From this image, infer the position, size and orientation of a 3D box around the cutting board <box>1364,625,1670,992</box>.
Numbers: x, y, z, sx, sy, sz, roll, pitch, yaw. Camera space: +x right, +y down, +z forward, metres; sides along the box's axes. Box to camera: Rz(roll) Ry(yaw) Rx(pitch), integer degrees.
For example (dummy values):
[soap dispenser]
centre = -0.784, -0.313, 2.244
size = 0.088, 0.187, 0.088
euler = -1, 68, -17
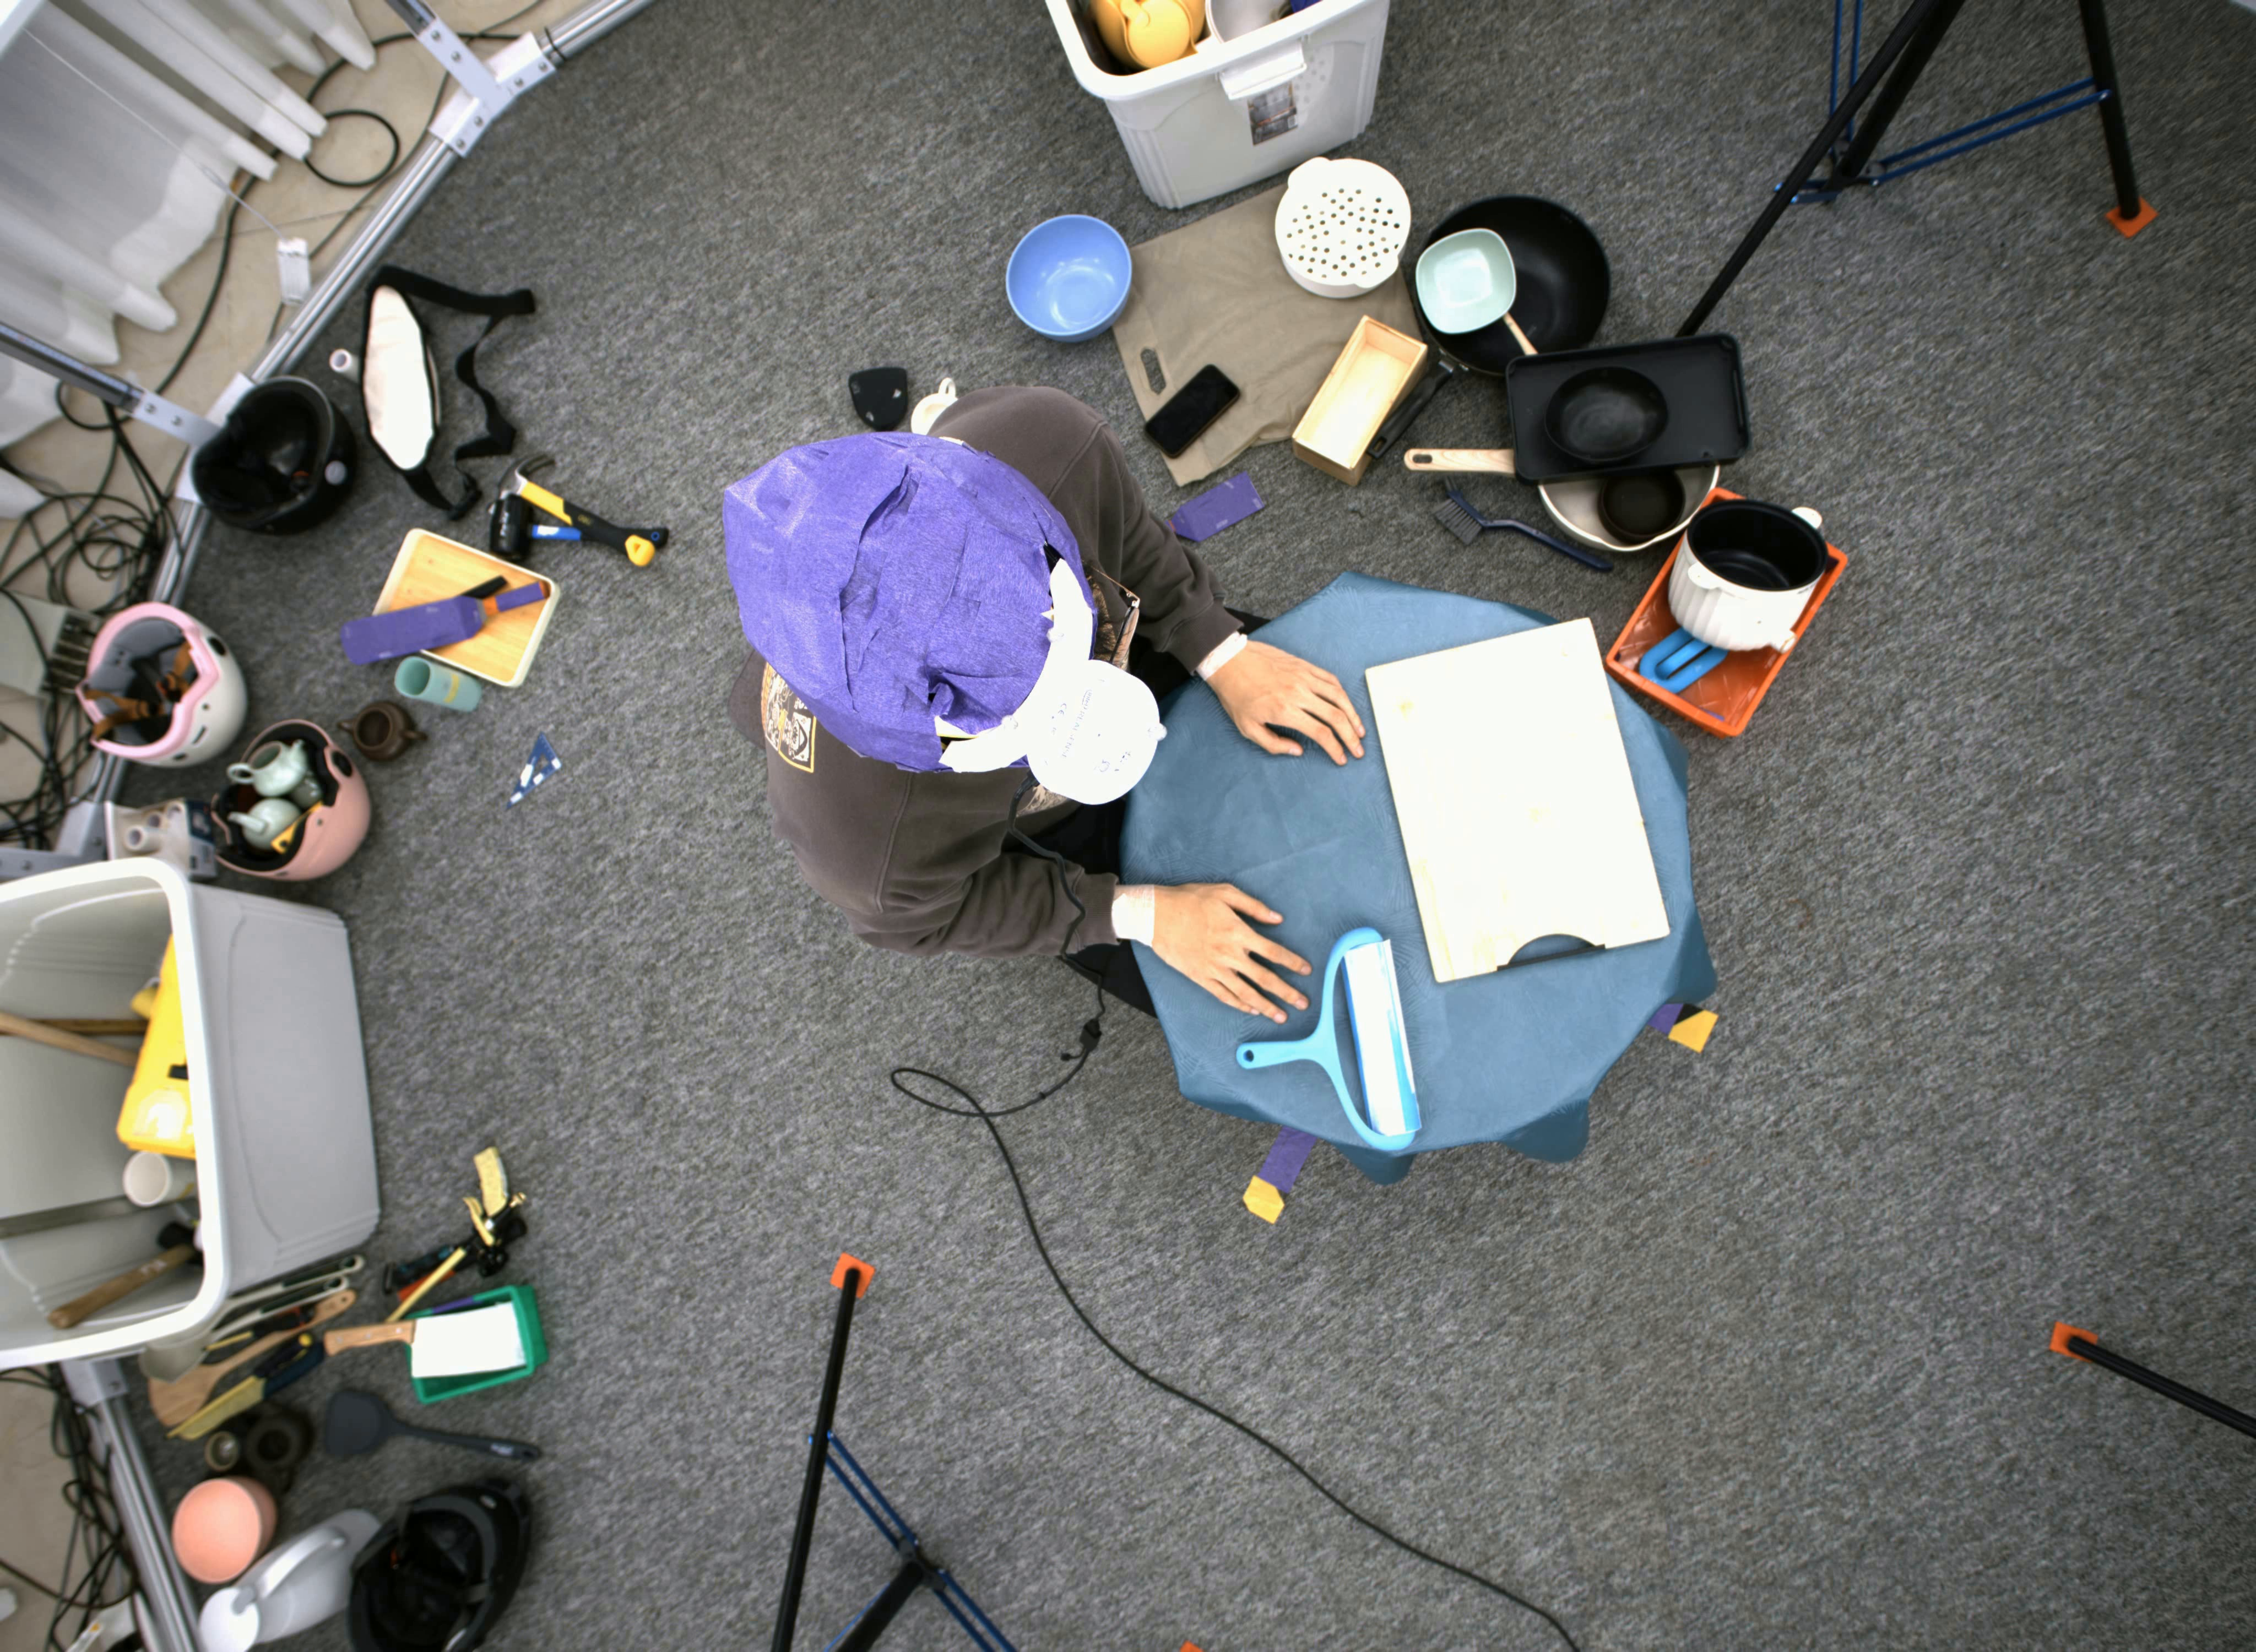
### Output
[cutting board]
centre = 0.402, -0.024, 1.429
size = 0.252, 0.023, 0.347
euler = -14, 85, 10

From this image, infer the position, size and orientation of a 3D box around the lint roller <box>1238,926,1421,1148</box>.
[lint roller]
centre = 0.202, 0.227, 1.434
size = 0.181, 0.068, 0.228
euler = -11, 86, 8
